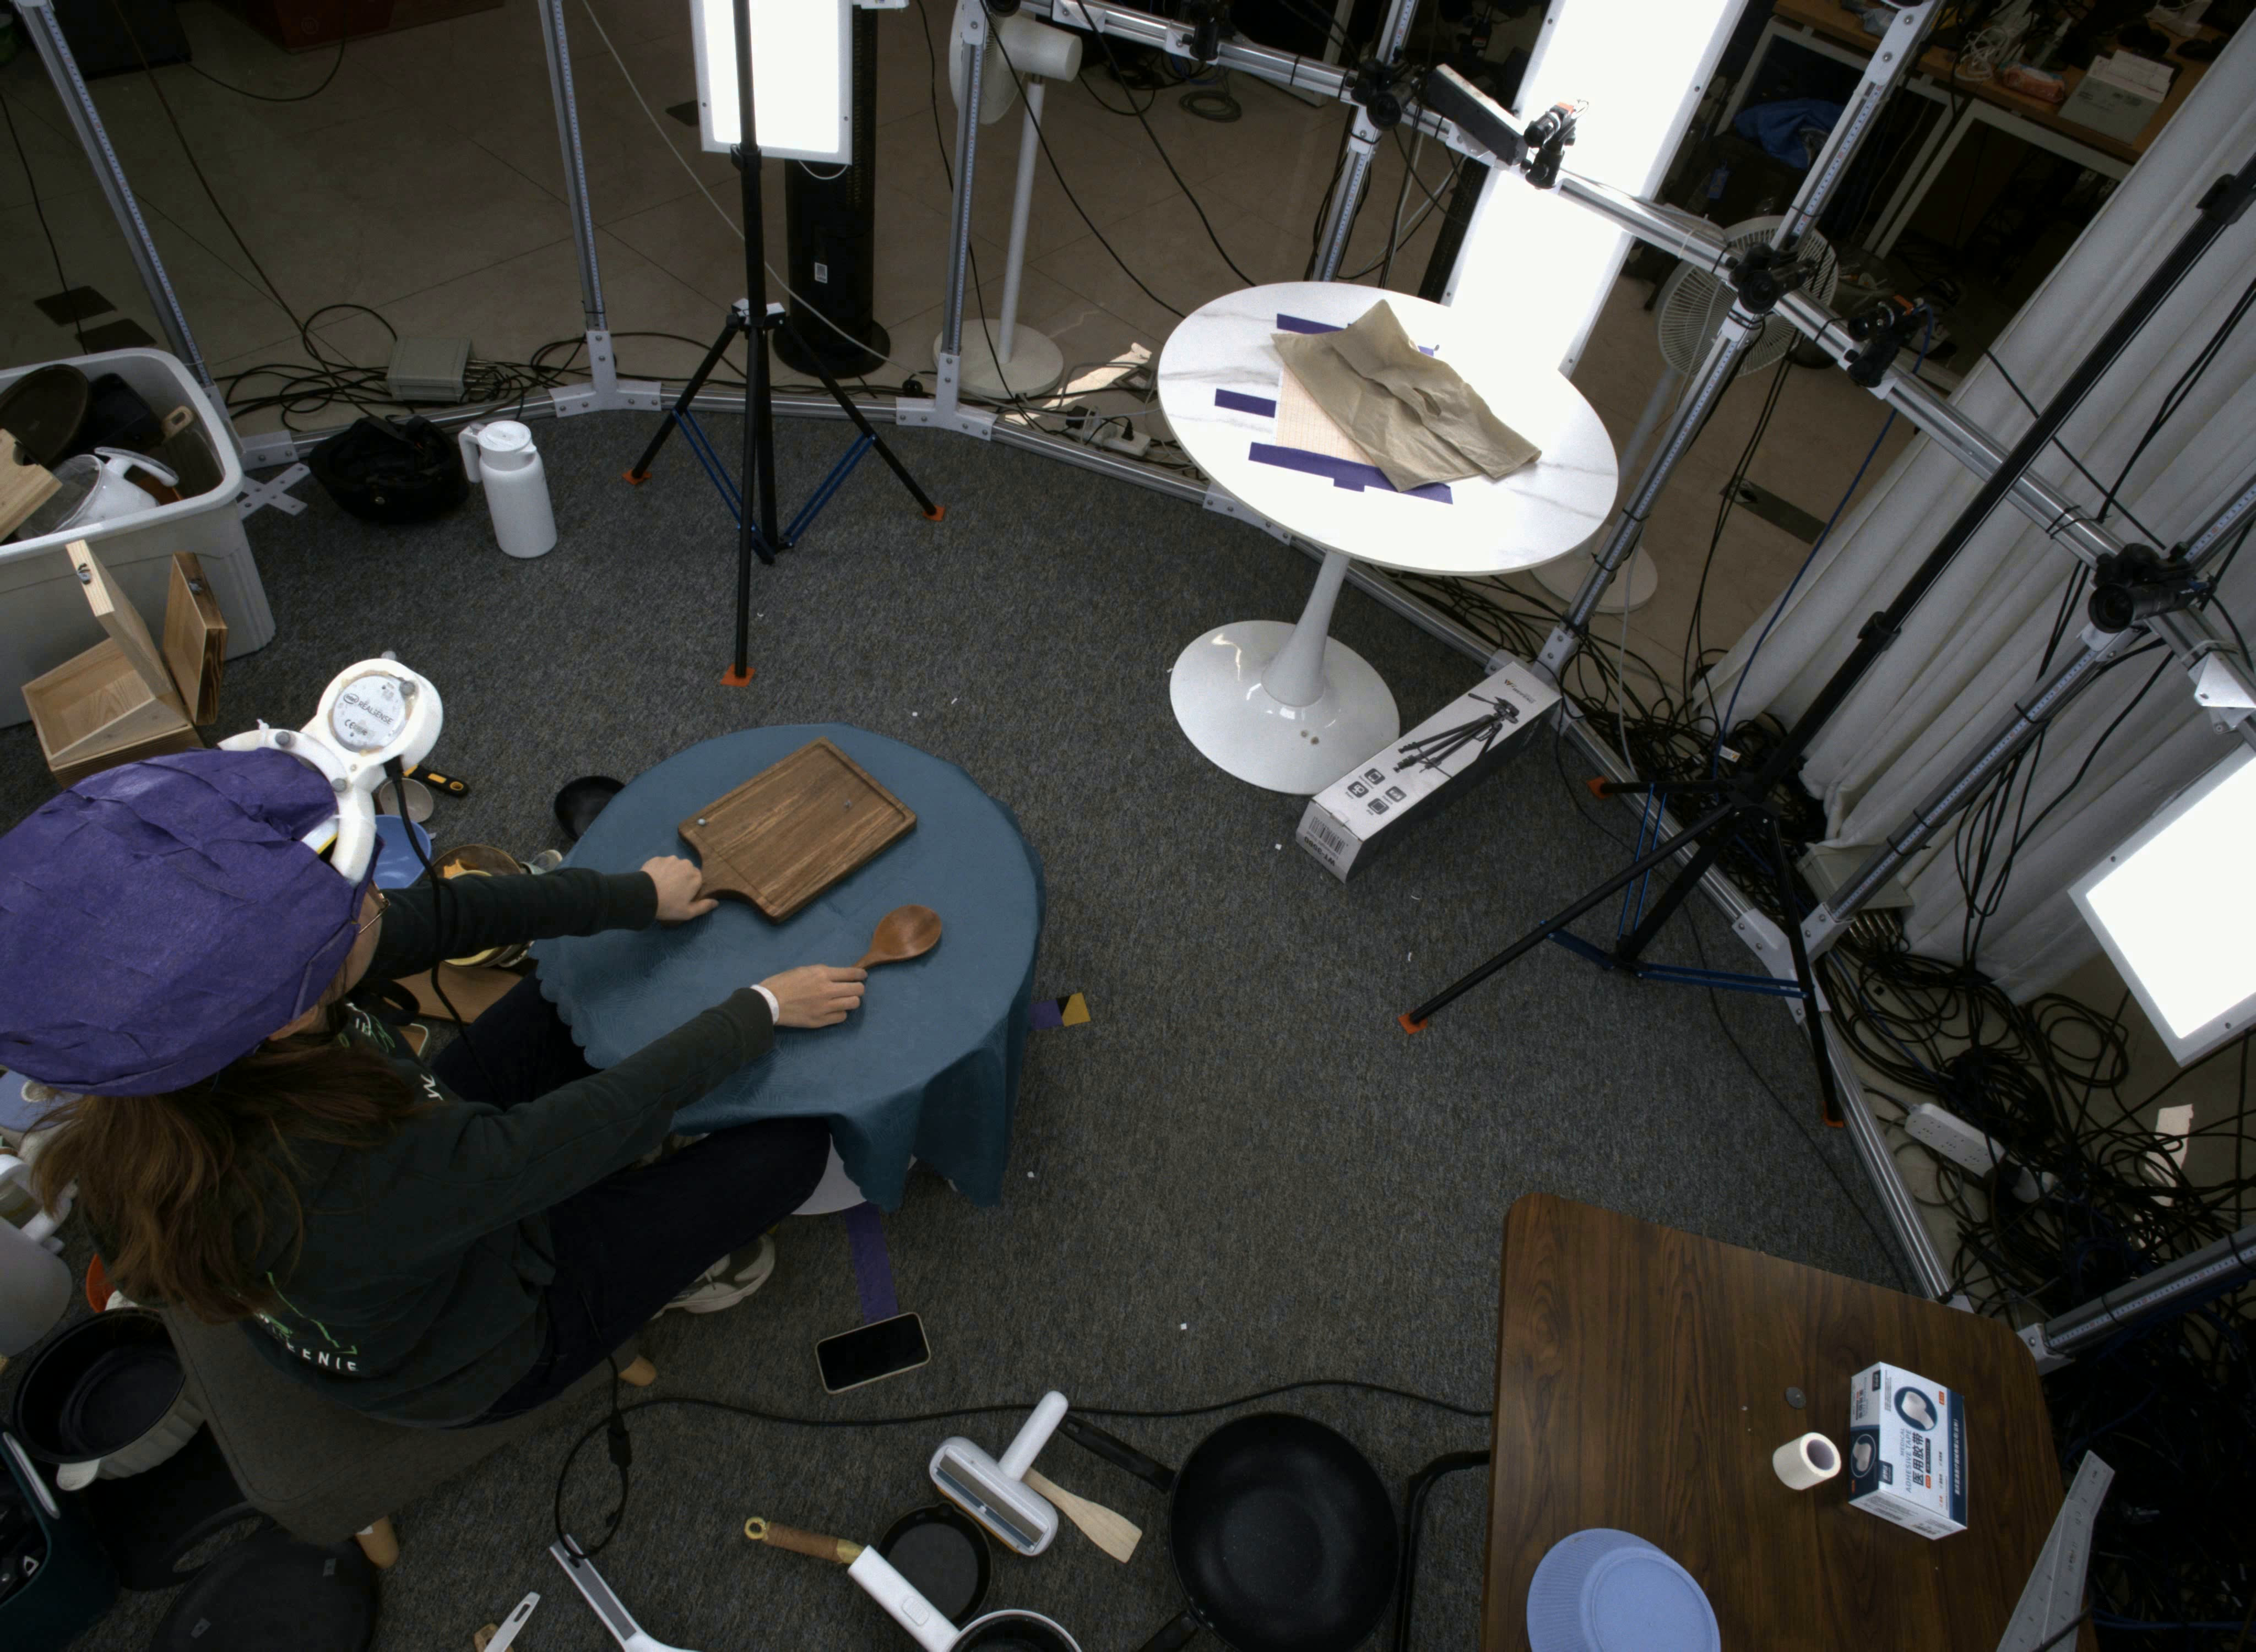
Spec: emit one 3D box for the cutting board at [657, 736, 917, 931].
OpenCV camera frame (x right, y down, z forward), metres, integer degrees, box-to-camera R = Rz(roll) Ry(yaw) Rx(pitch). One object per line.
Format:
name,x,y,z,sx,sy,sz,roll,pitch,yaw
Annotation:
cutting board,-0.465,0.025,1.683,0.197,0.023,0.352,40,53,14

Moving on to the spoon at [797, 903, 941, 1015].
spoon,-0.323,0.165,1.620,0.074,0.017,0.216,43,55,16
